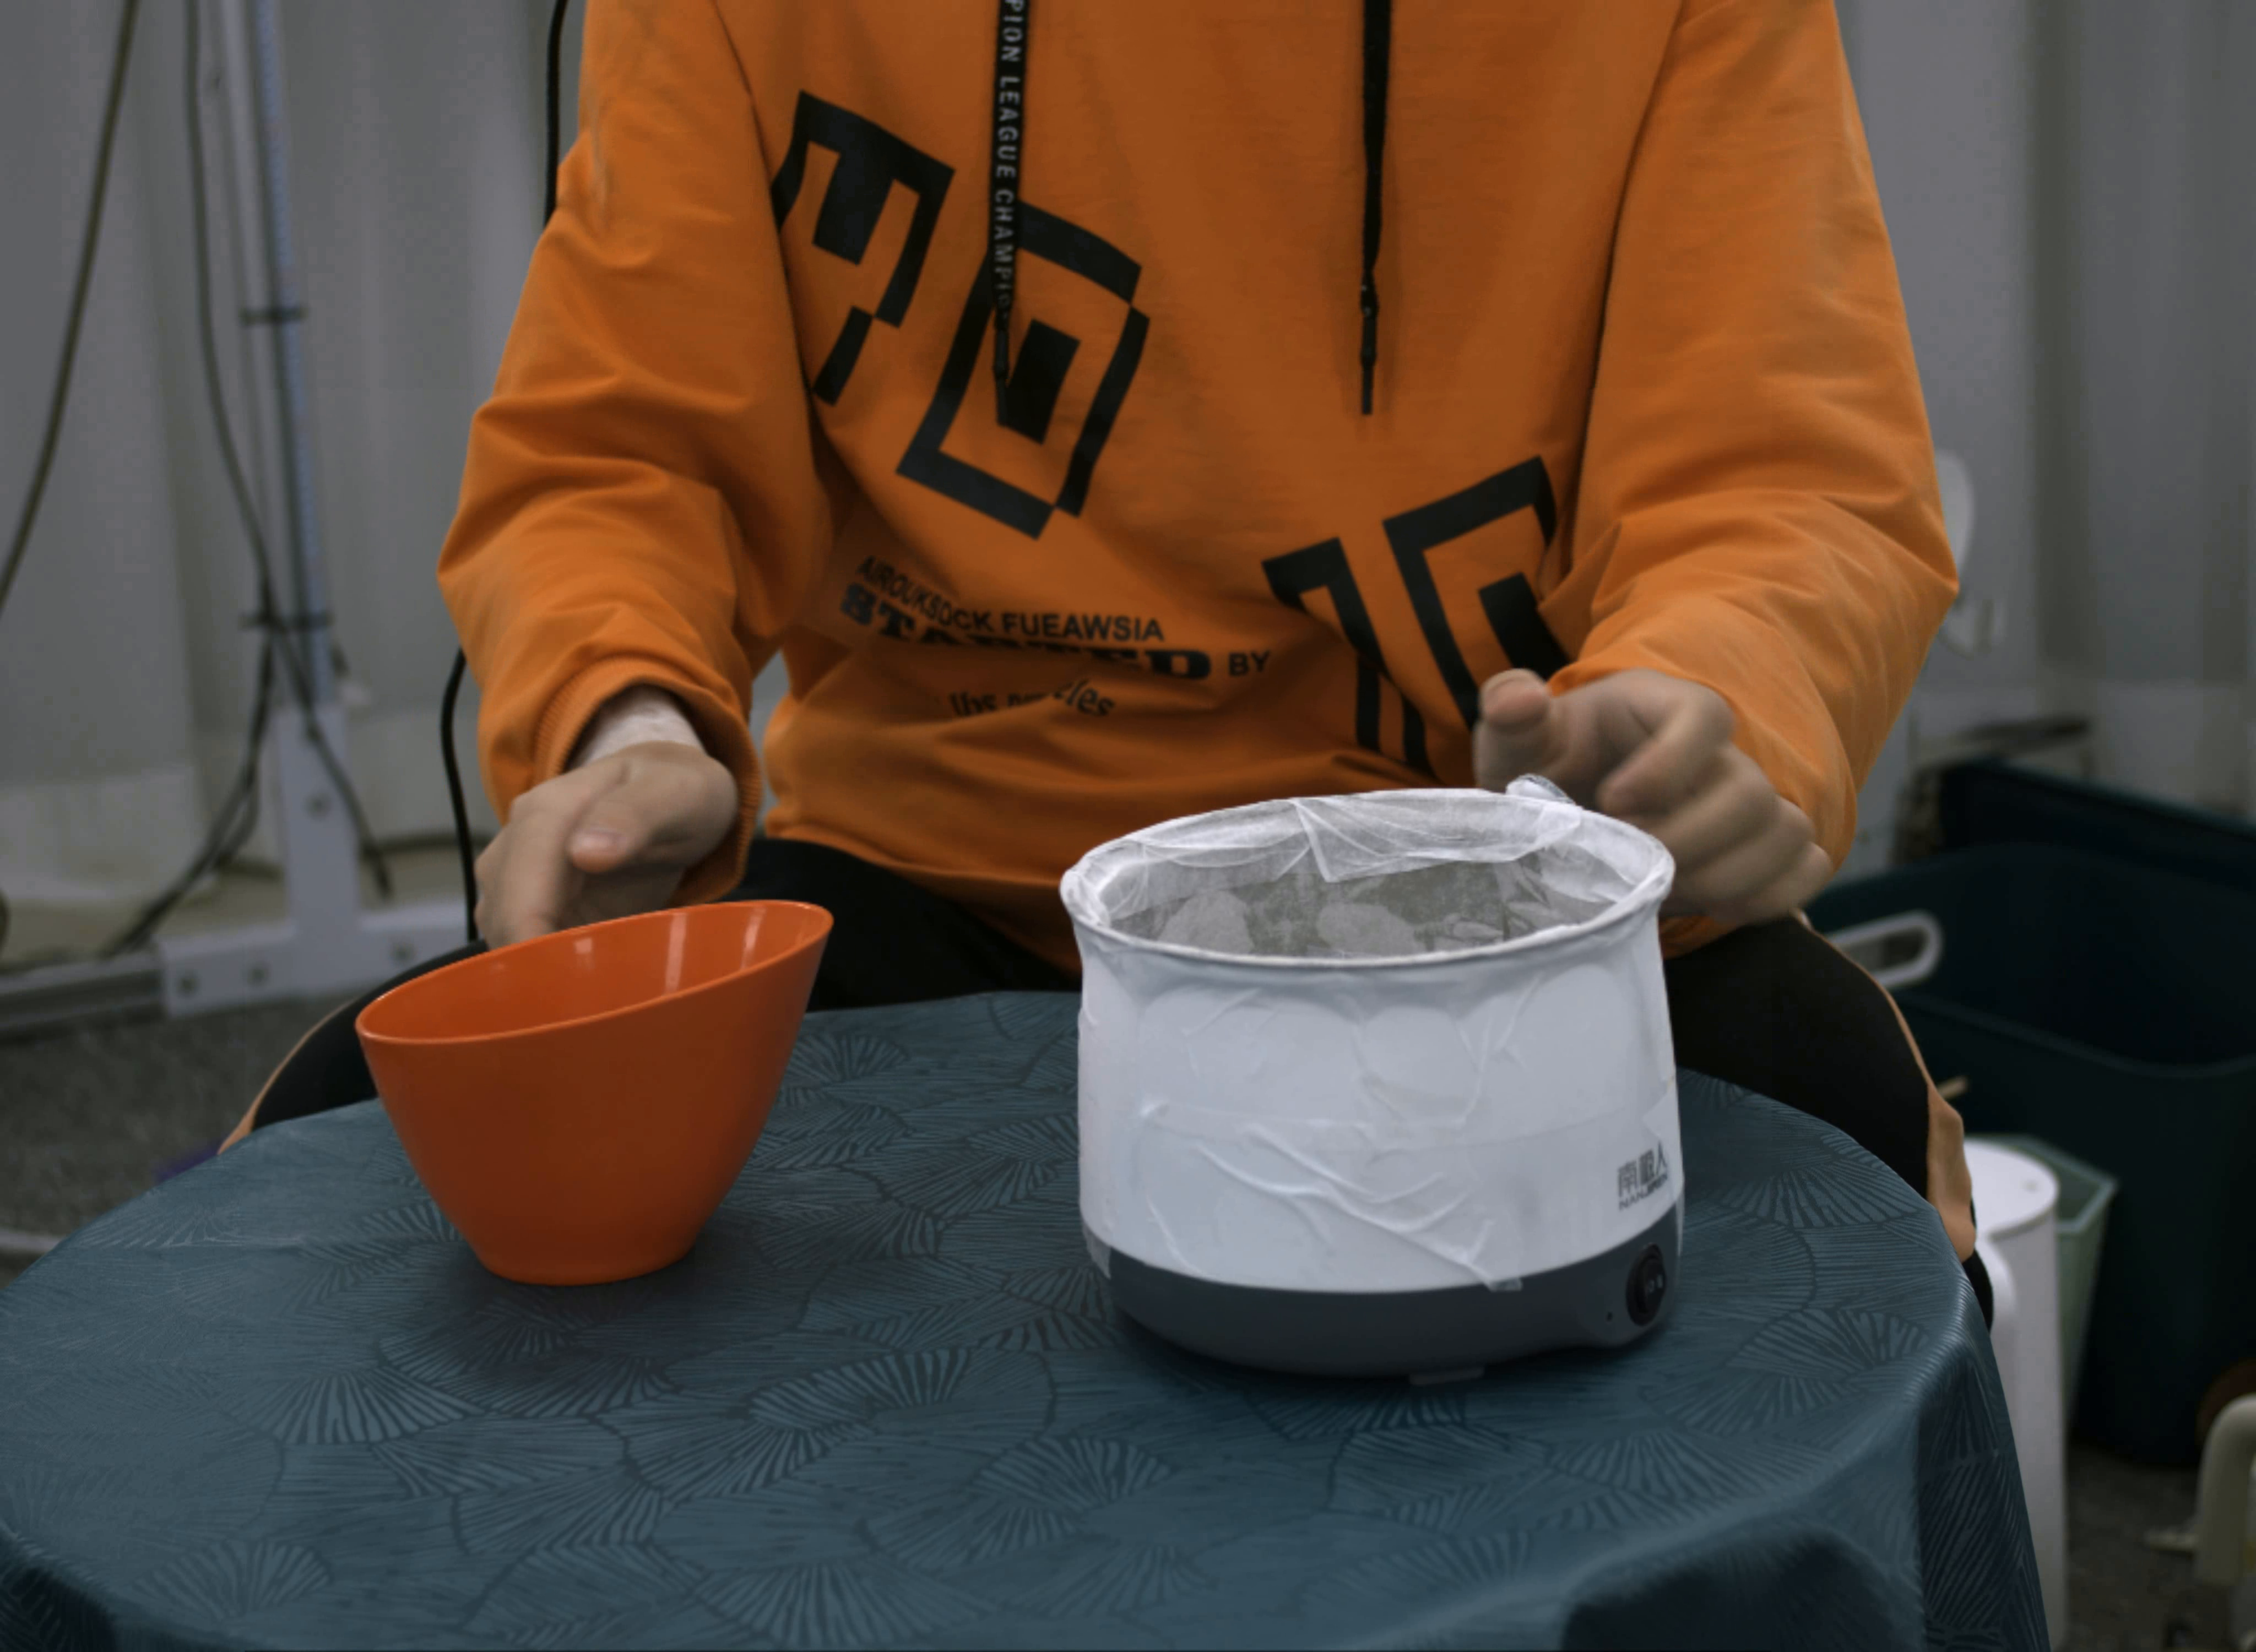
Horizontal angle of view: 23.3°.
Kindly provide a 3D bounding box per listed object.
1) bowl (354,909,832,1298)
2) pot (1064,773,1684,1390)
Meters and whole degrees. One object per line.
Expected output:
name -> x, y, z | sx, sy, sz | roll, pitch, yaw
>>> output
bowl -> -0.160, 0.086, 1.670 | 0.147, 0.104, 0.149 | -4, 14, 1
pot -> 0.086, 0.068, 1.610 | 0.179, 0.136, 0.234 | 6, 18, 30
